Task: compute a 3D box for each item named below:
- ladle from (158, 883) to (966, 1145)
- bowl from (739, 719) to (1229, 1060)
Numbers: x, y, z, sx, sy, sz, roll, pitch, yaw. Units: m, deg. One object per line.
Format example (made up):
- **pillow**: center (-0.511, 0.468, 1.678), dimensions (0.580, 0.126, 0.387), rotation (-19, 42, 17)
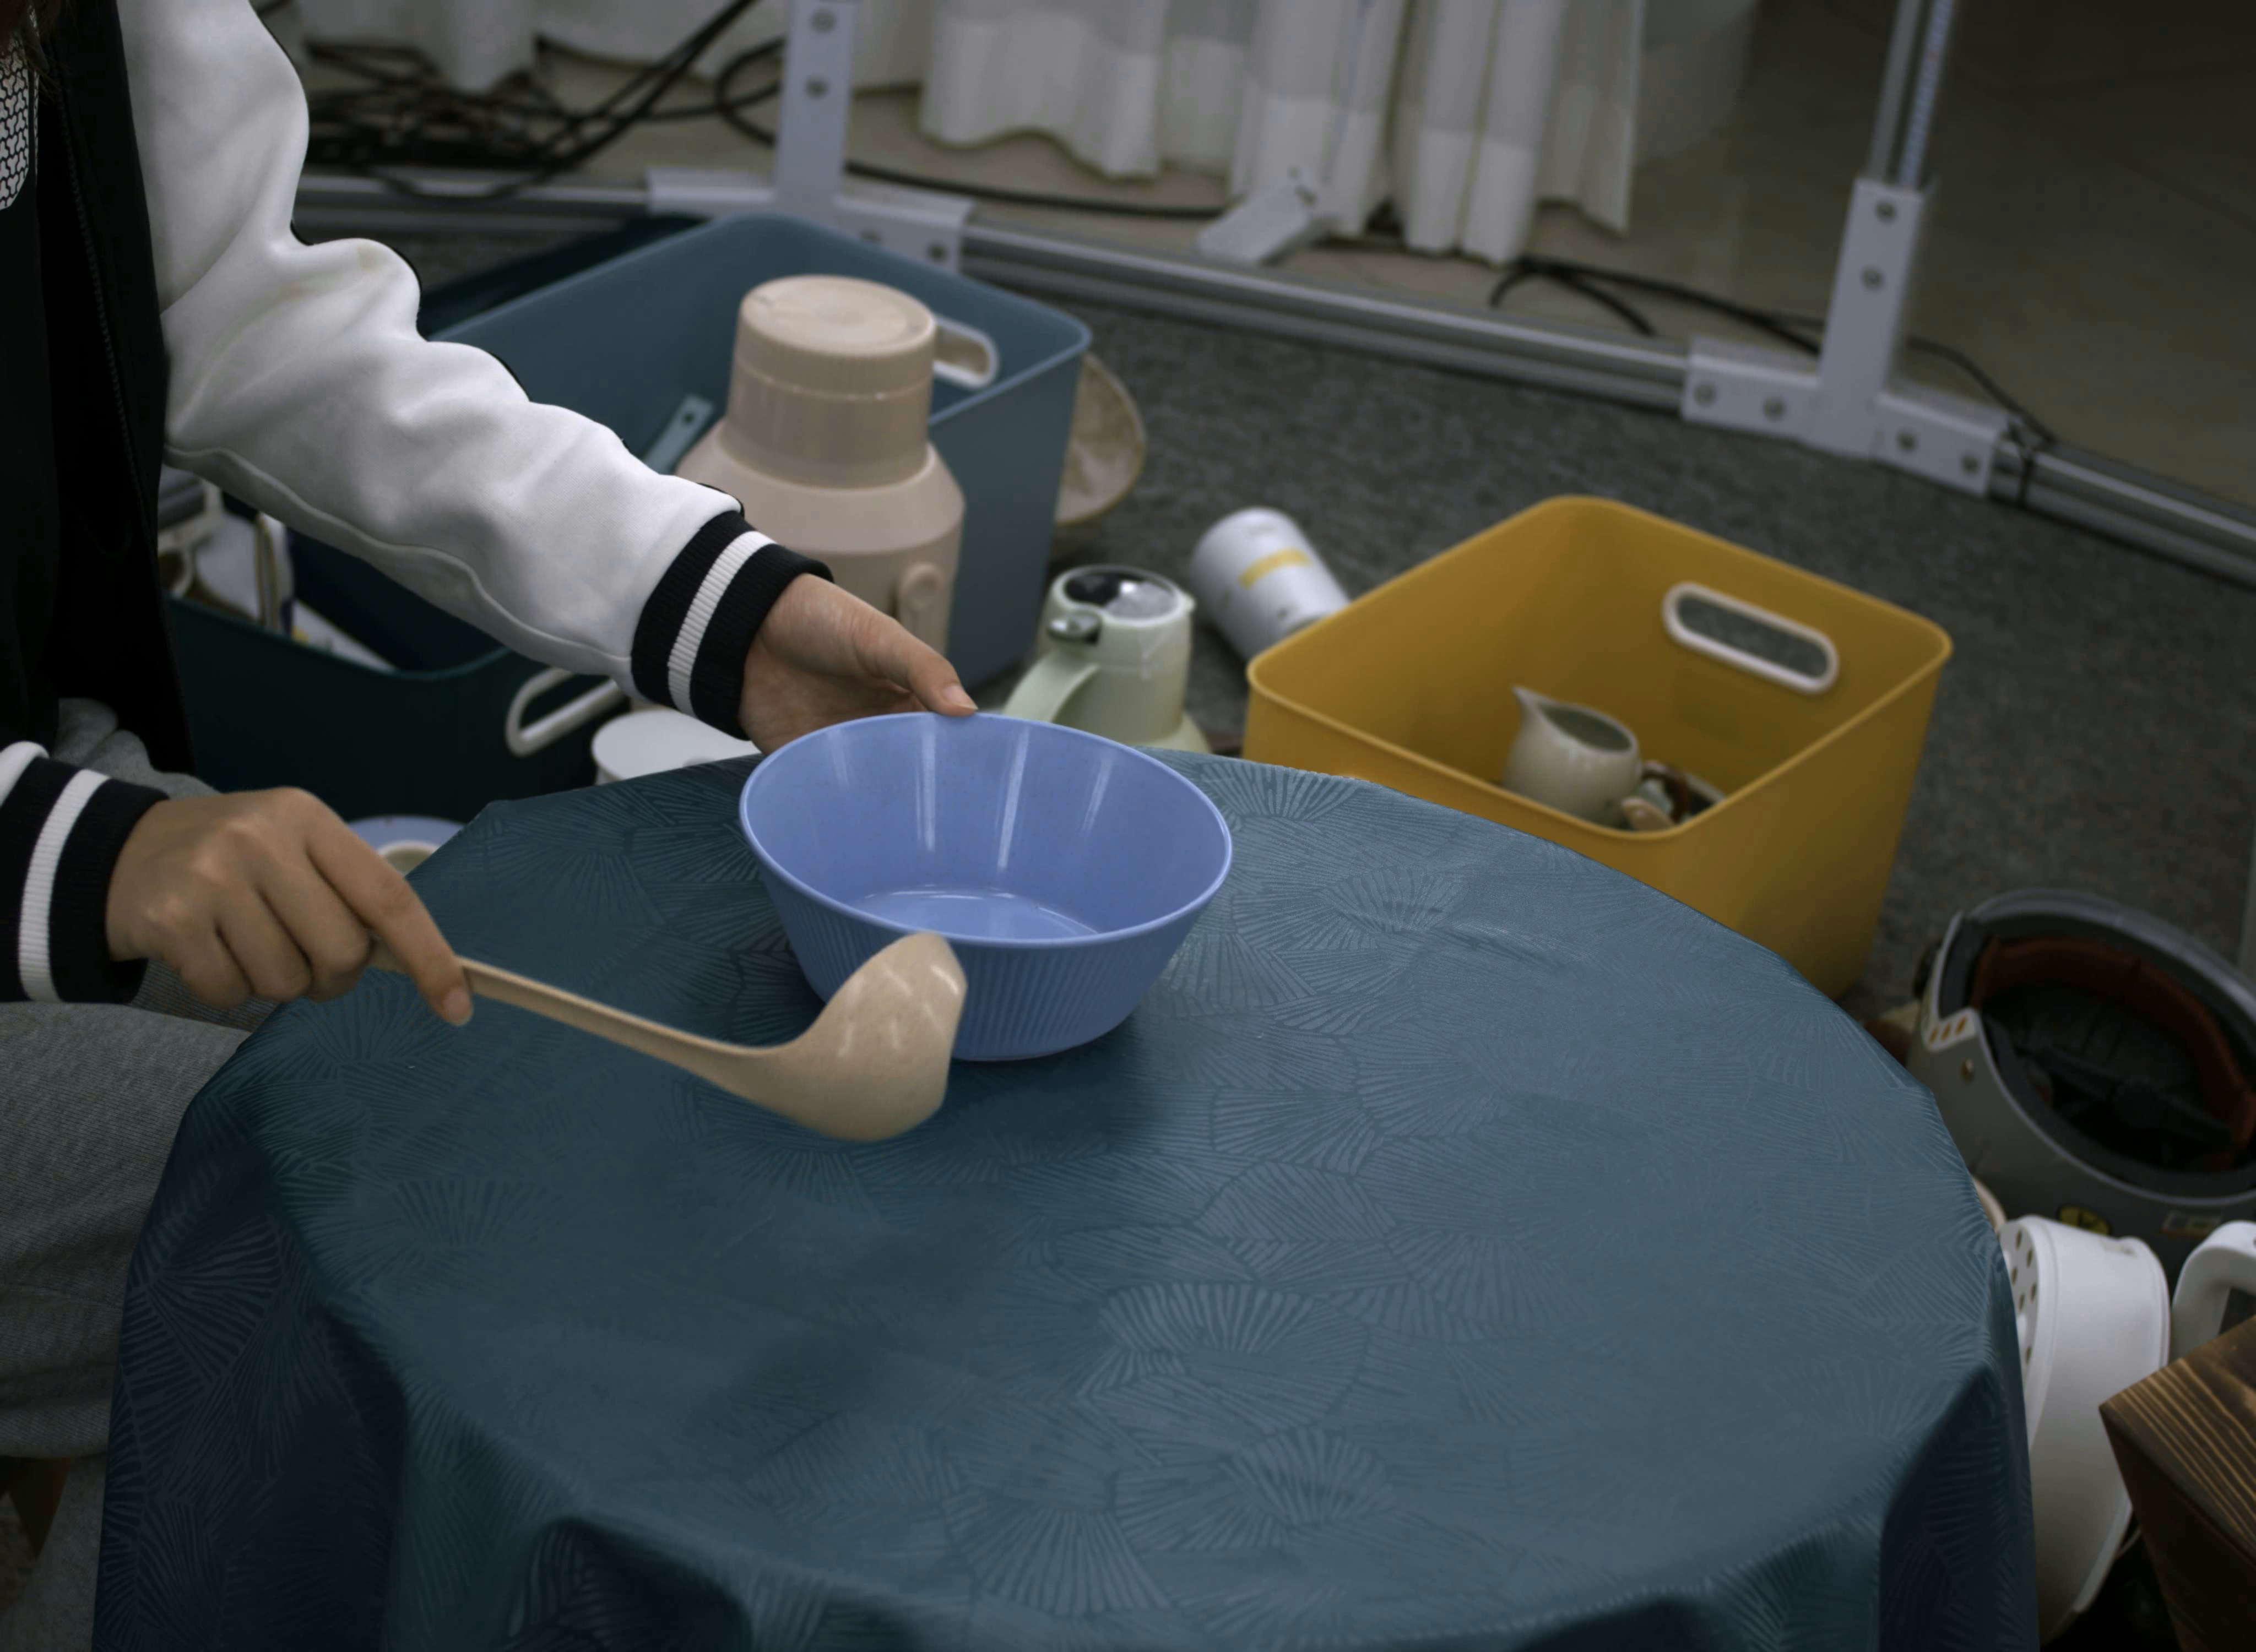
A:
- **ladle**: center (-0.175, 0.035, 1.689), dimensions (0.254, 0.072, 0.073), rotation (19, 55, 2)
- **bowl**: center (-0.054, 0.028, 1.900), dimensions (0.175, 0.070, 0.177), rotation (6, 26, -3)
